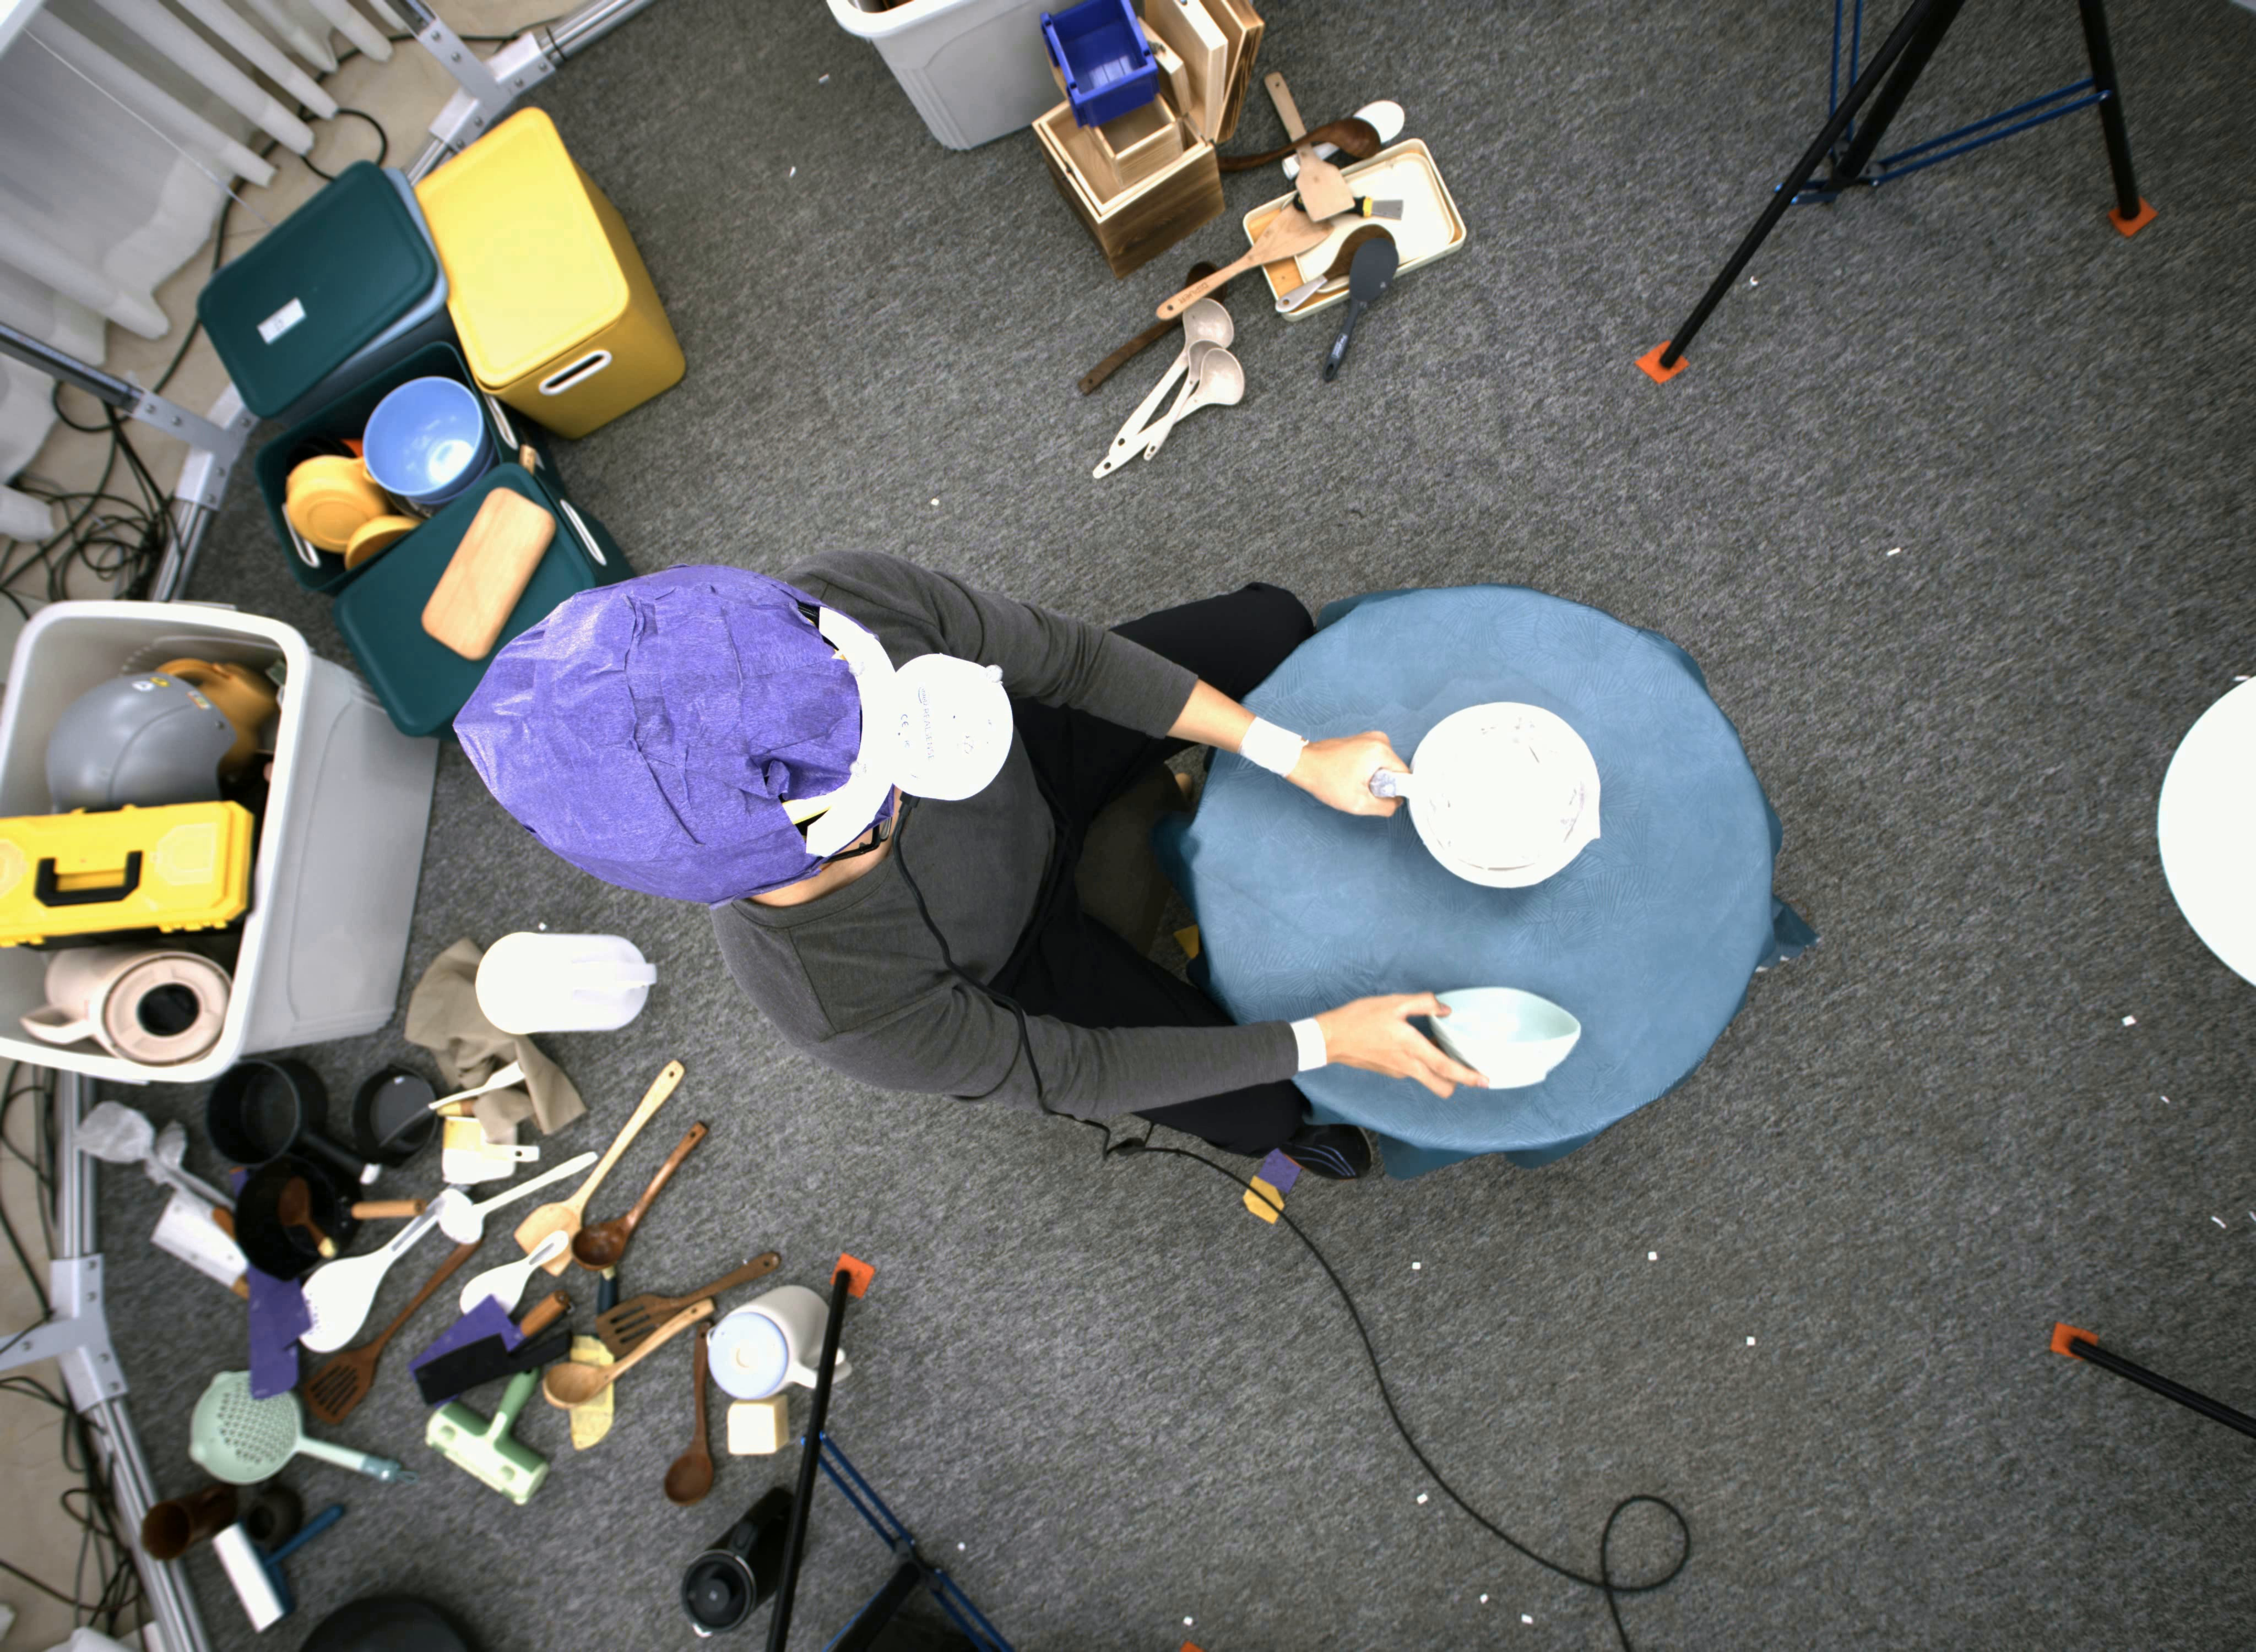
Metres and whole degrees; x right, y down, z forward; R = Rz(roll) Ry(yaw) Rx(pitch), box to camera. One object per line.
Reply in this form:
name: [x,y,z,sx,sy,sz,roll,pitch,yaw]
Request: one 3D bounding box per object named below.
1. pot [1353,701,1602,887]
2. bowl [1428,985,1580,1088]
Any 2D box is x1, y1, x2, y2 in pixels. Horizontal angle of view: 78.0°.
pot: [0.342,-0.038,1.372,0.234,0.135,0.179,4,96,9]
bowl: [0.368,0.212,1.370,0.152,0.149,0.059,12,109,11]
